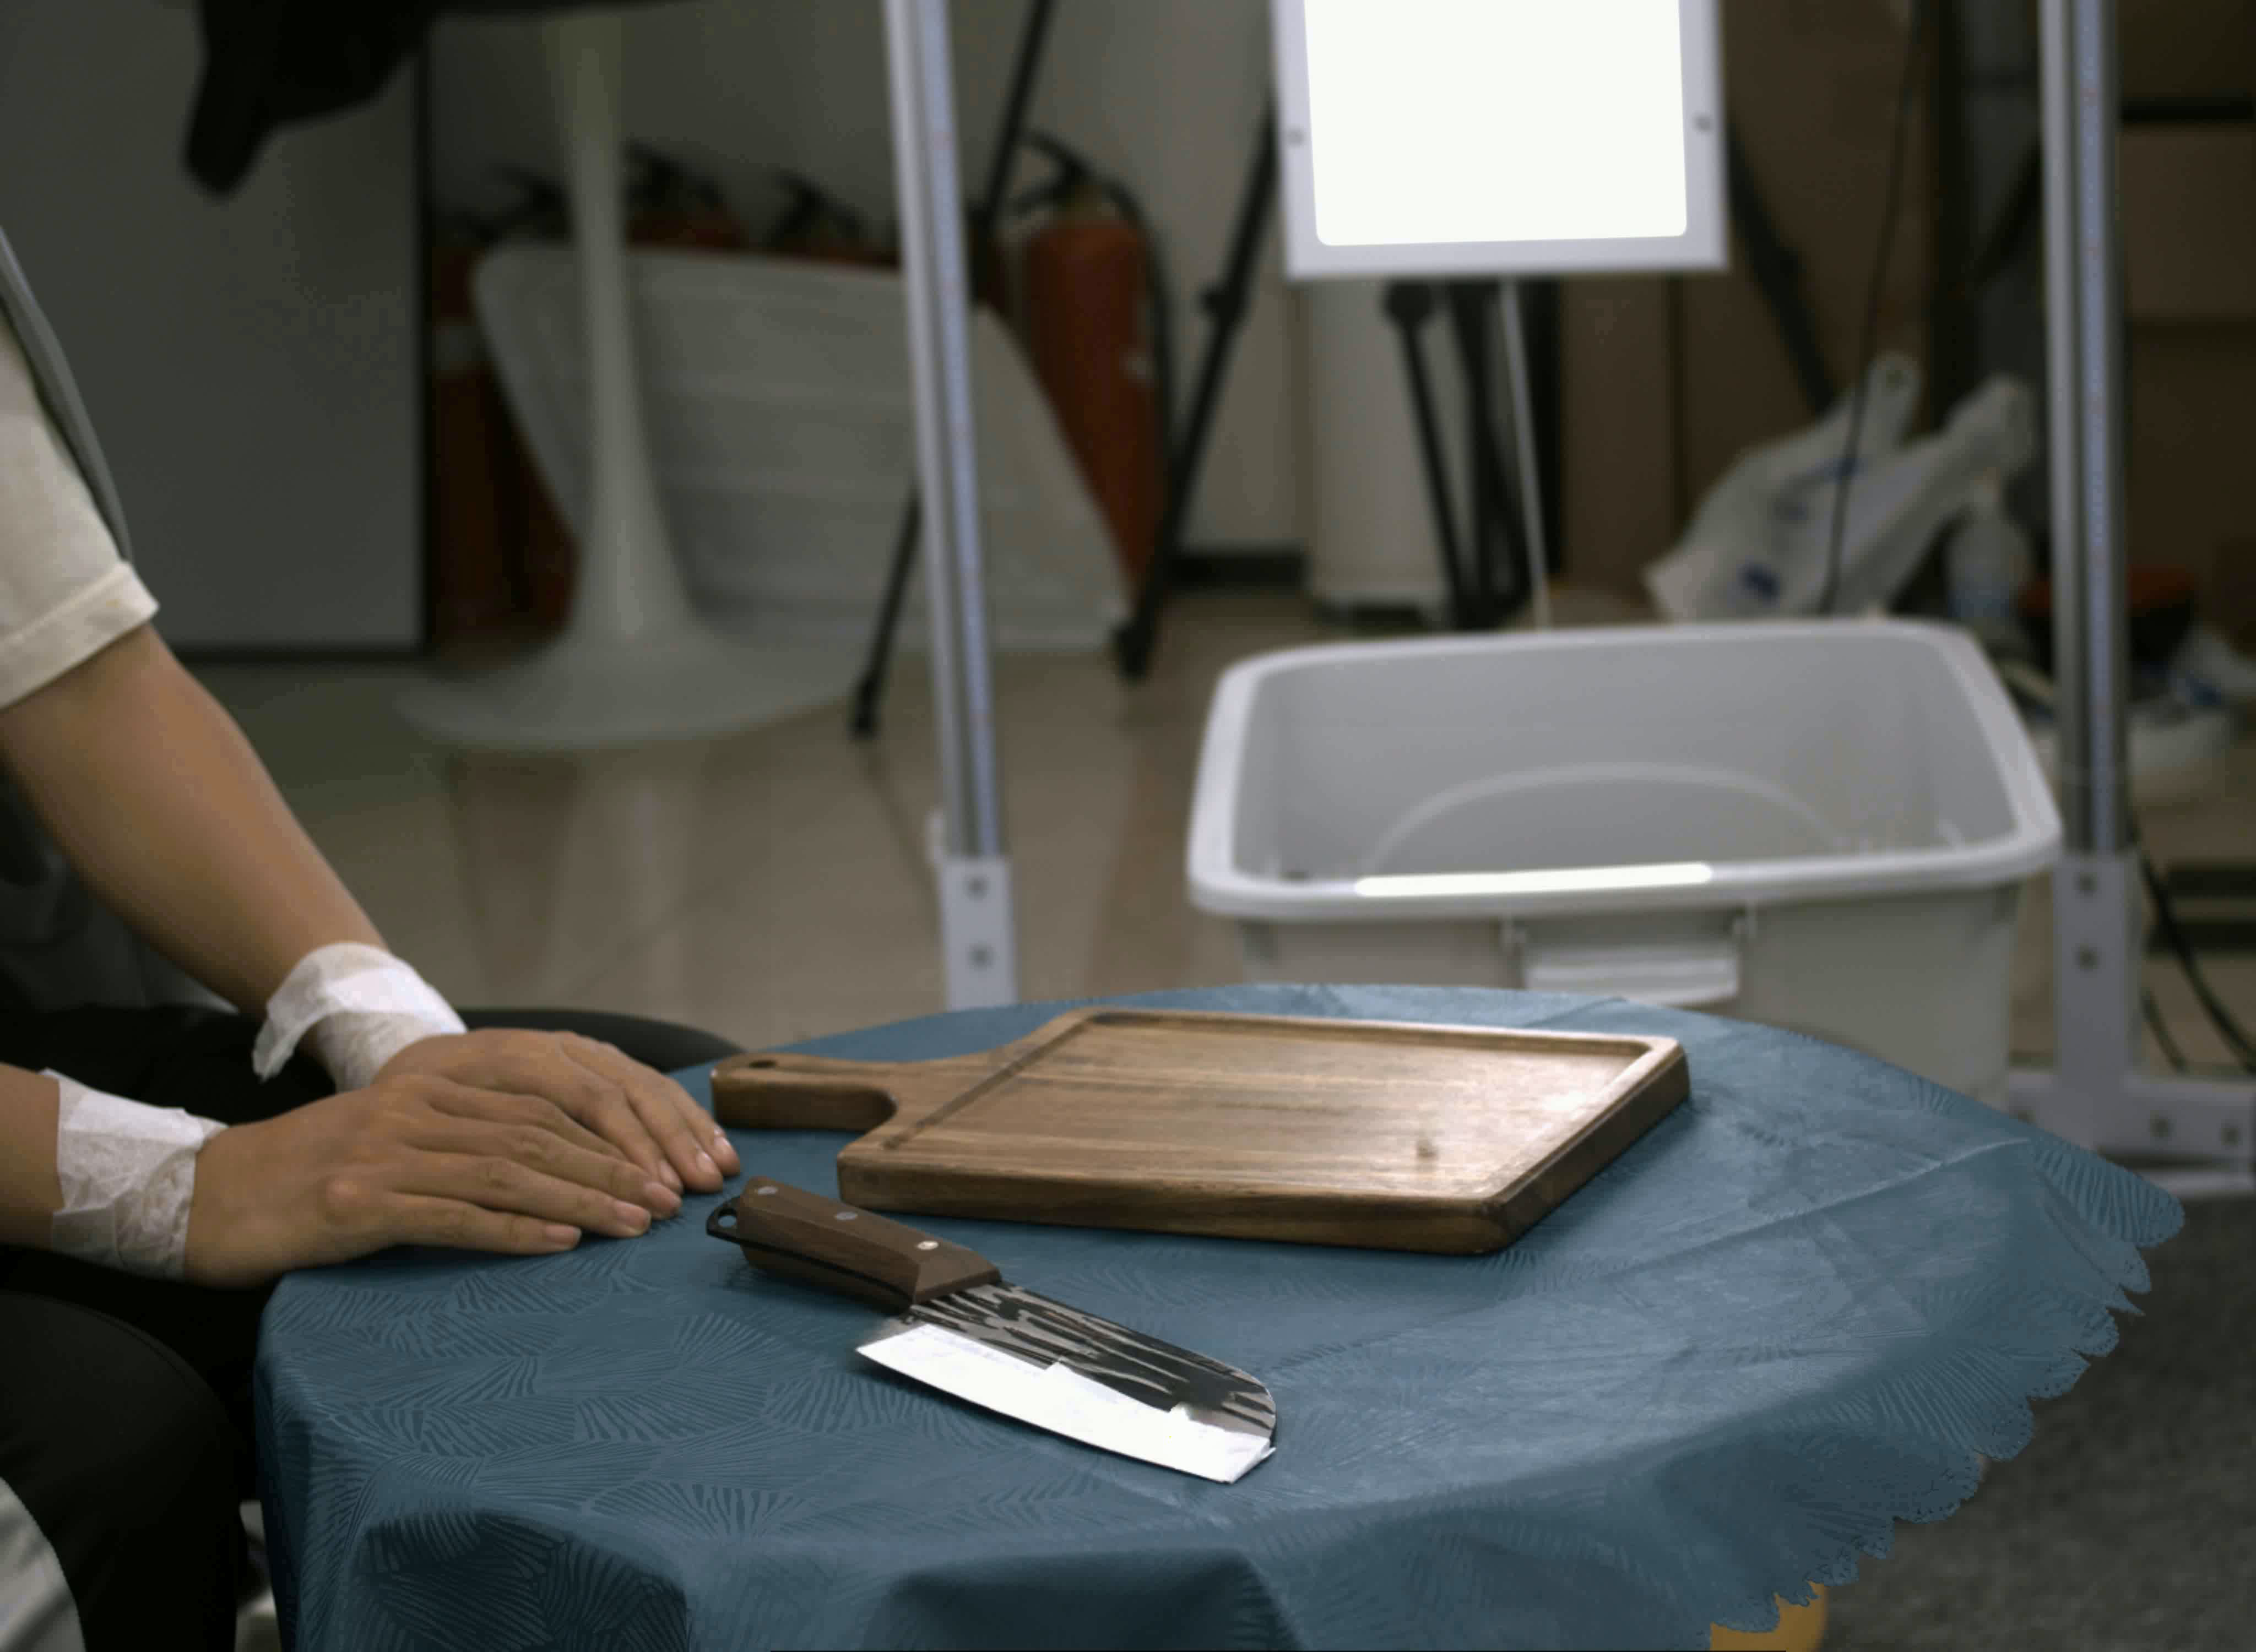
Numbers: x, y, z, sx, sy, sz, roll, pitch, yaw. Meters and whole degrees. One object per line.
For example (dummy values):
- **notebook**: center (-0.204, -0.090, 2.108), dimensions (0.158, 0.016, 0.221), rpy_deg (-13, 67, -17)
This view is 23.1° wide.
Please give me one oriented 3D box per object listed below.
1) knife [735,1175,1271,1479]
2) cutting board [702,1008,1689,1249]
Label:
- **knife**: center (-0.049, 0.159, 1.741), dimensions (0.066, 0.024, 0.306), rpy_deg (-19, 21, -35)
- **cutting board**: center (0.005, 0.102, 1.953), dimensions (0.358, 0.023, 0.197), rpy_deg (1, 15, 28)
